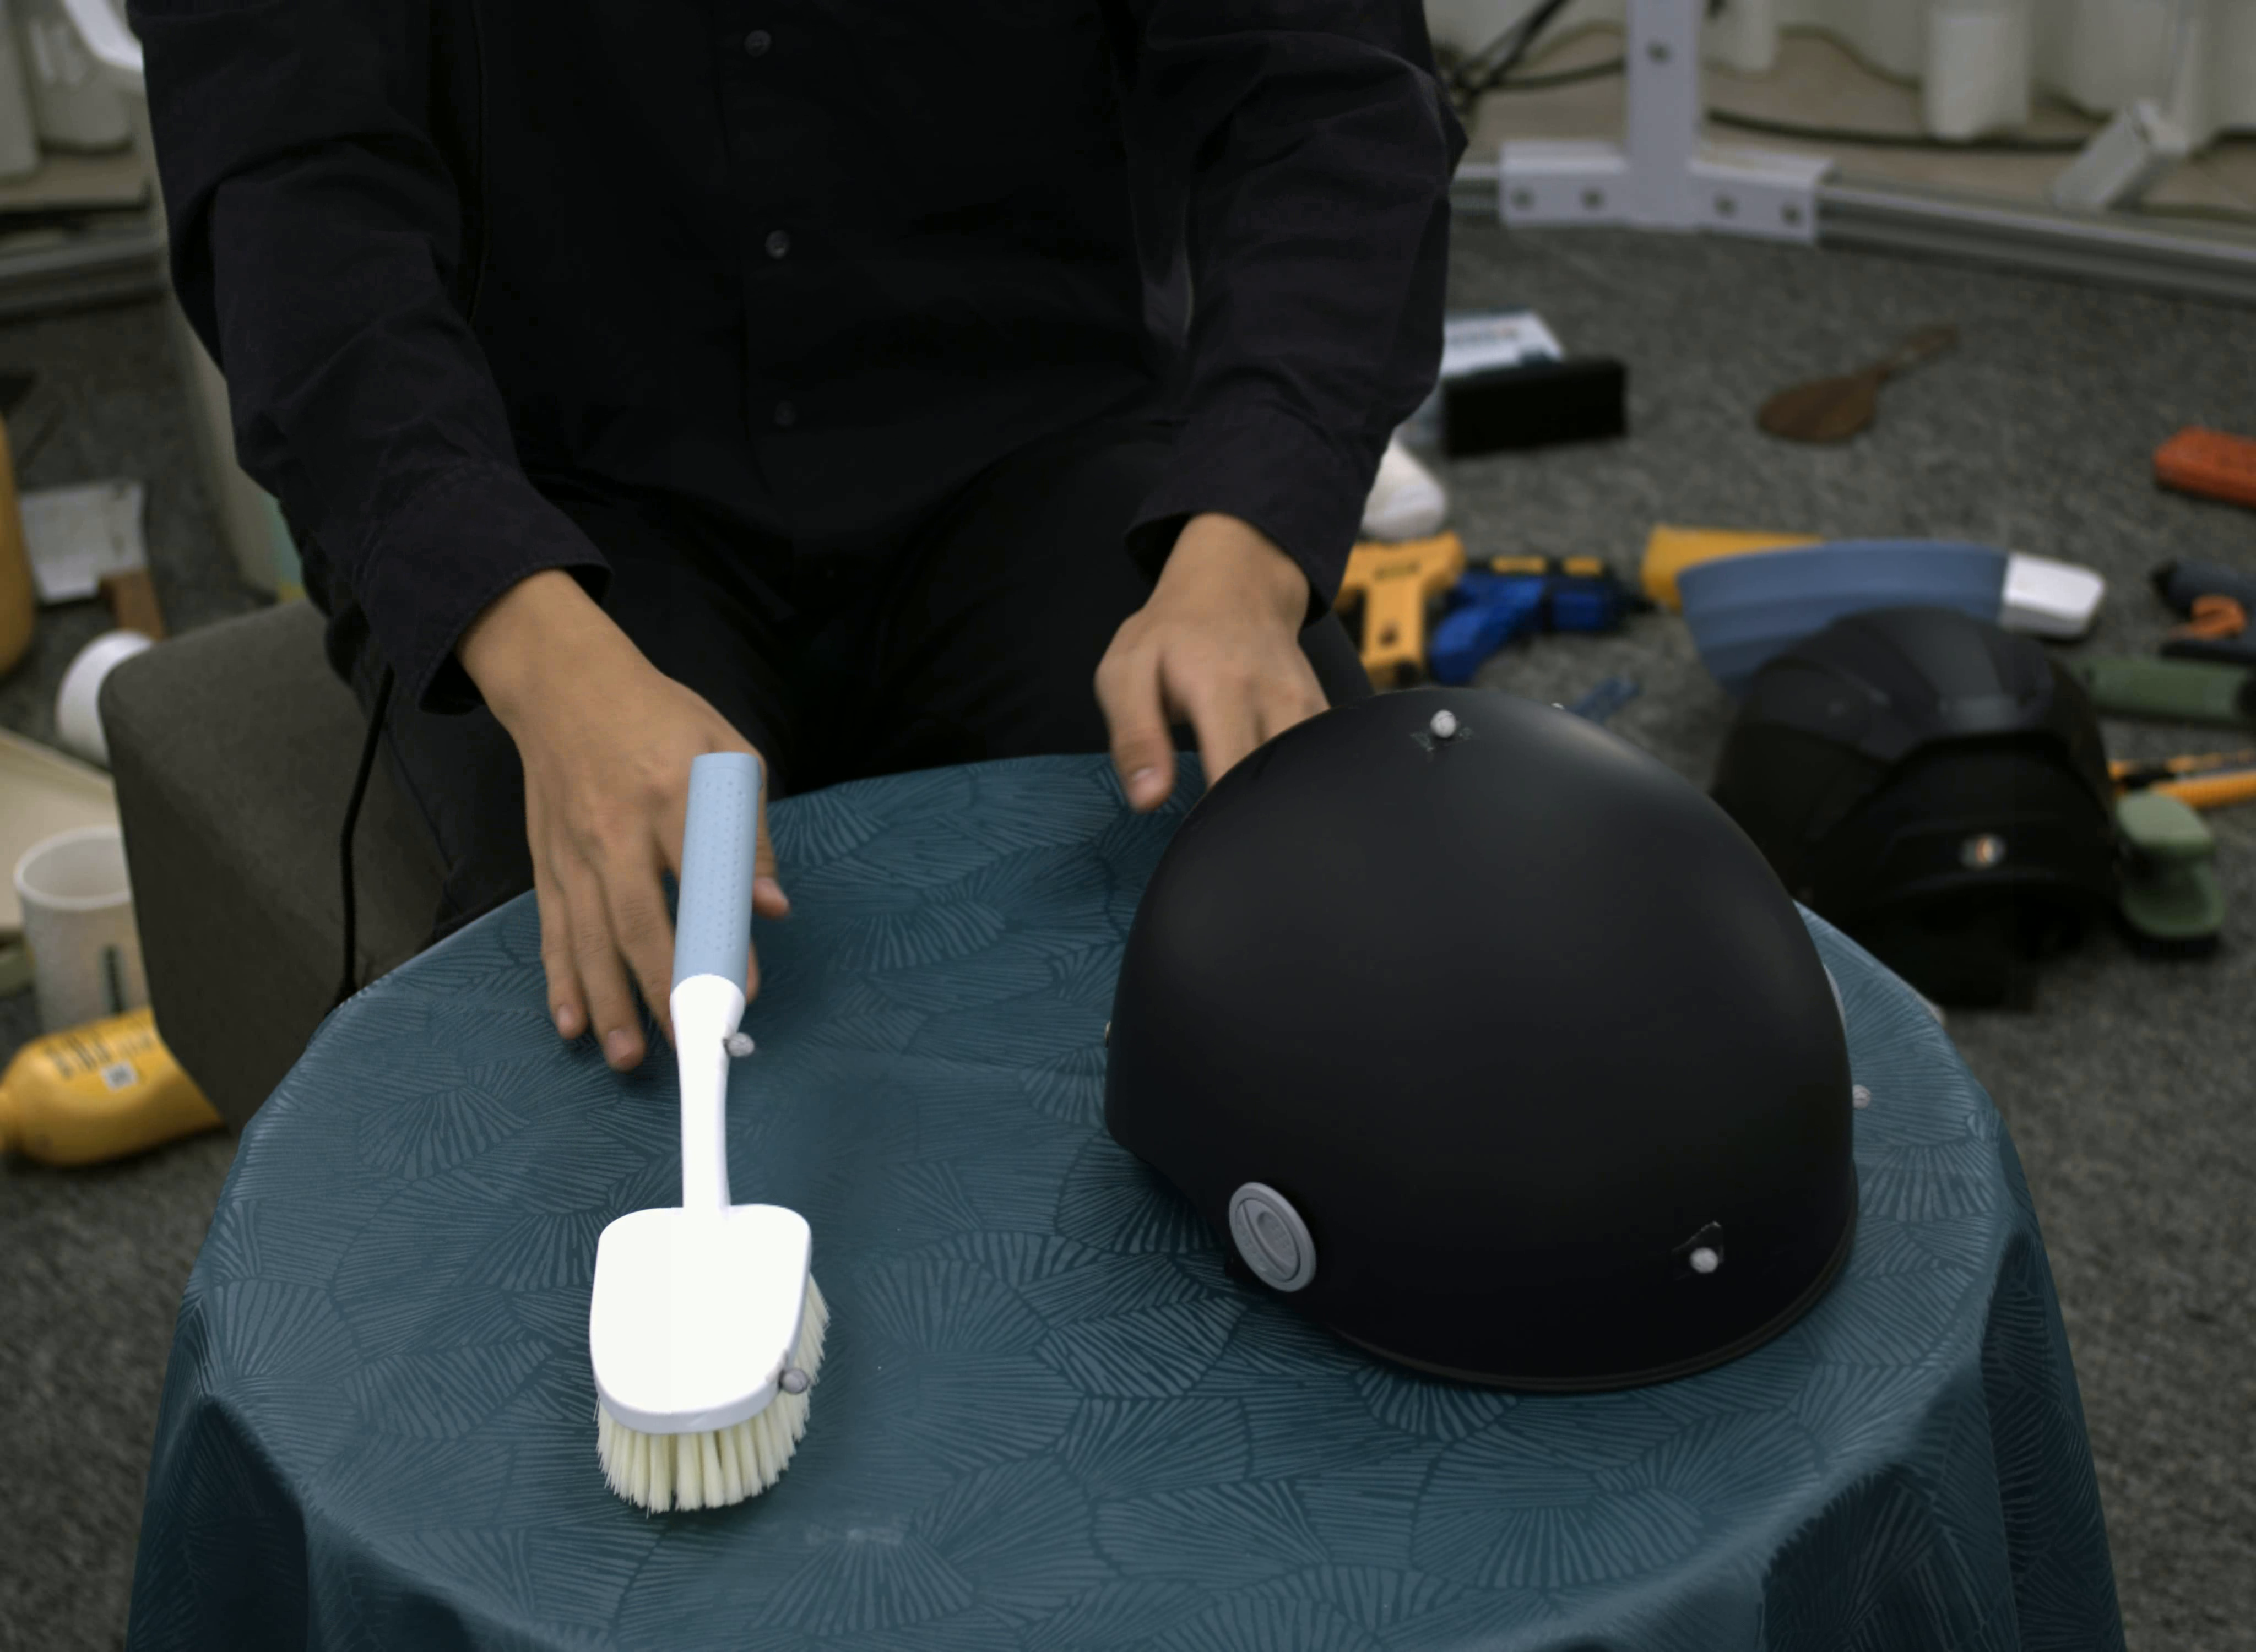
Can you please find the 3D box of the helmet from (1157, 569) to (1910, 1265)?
[{"bbox_3d":[0.132,0.012,1.836,0.231,0.165,0.274,-19,34,-24],"label":"helmet"}]

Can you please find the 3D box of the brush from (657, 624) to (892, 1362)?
[{"bbox_3d":[-0.109,0.062,1.842,0.083,0.083,0.332,28,34,-21],"label":"brush"}]
